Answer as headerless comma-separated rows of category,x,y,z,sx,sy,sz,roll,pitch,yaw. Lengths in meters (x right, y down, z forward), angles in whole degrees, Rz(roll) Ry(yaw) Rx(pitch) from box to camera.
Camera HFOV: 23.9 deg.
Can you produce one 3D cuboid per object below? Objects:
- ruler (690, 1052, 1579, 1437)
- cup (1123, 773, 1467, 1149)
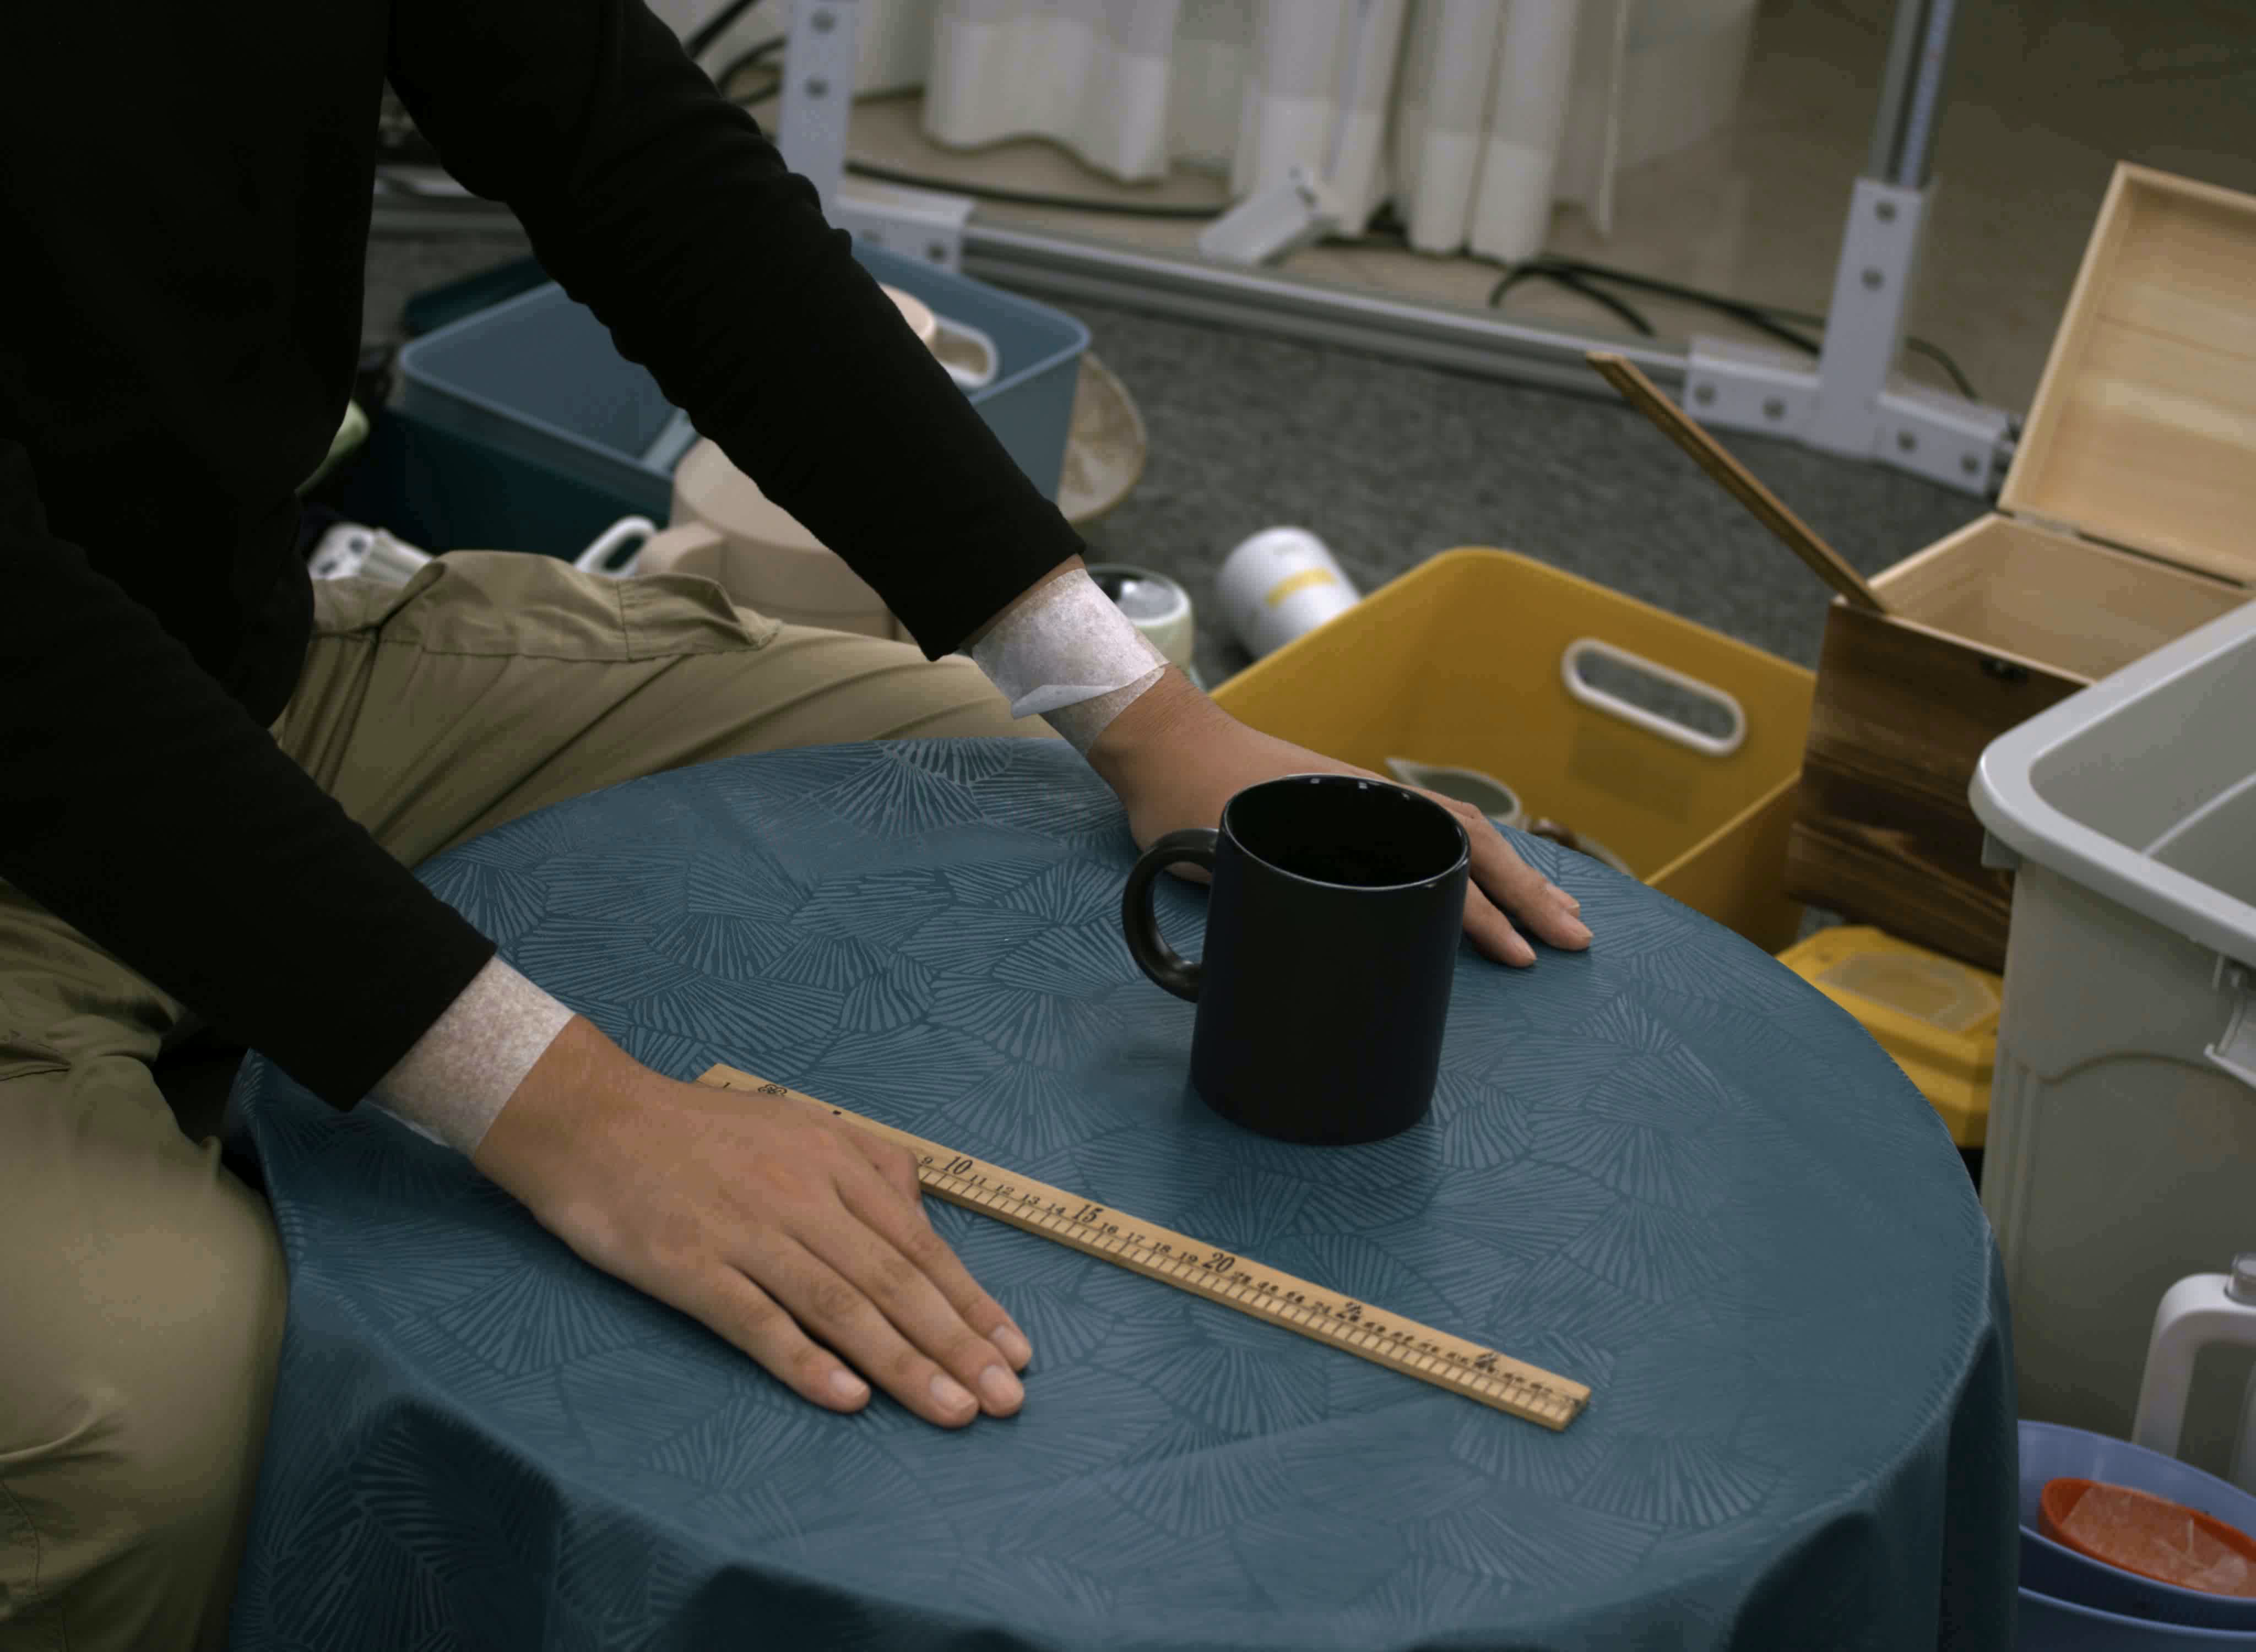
ruler,-0.002,0.134,1.769,0.333,0.022,0.027,20,25,24
cup,0.054,0.042,1.863,0.124,0.105,0.088,18,31,23
